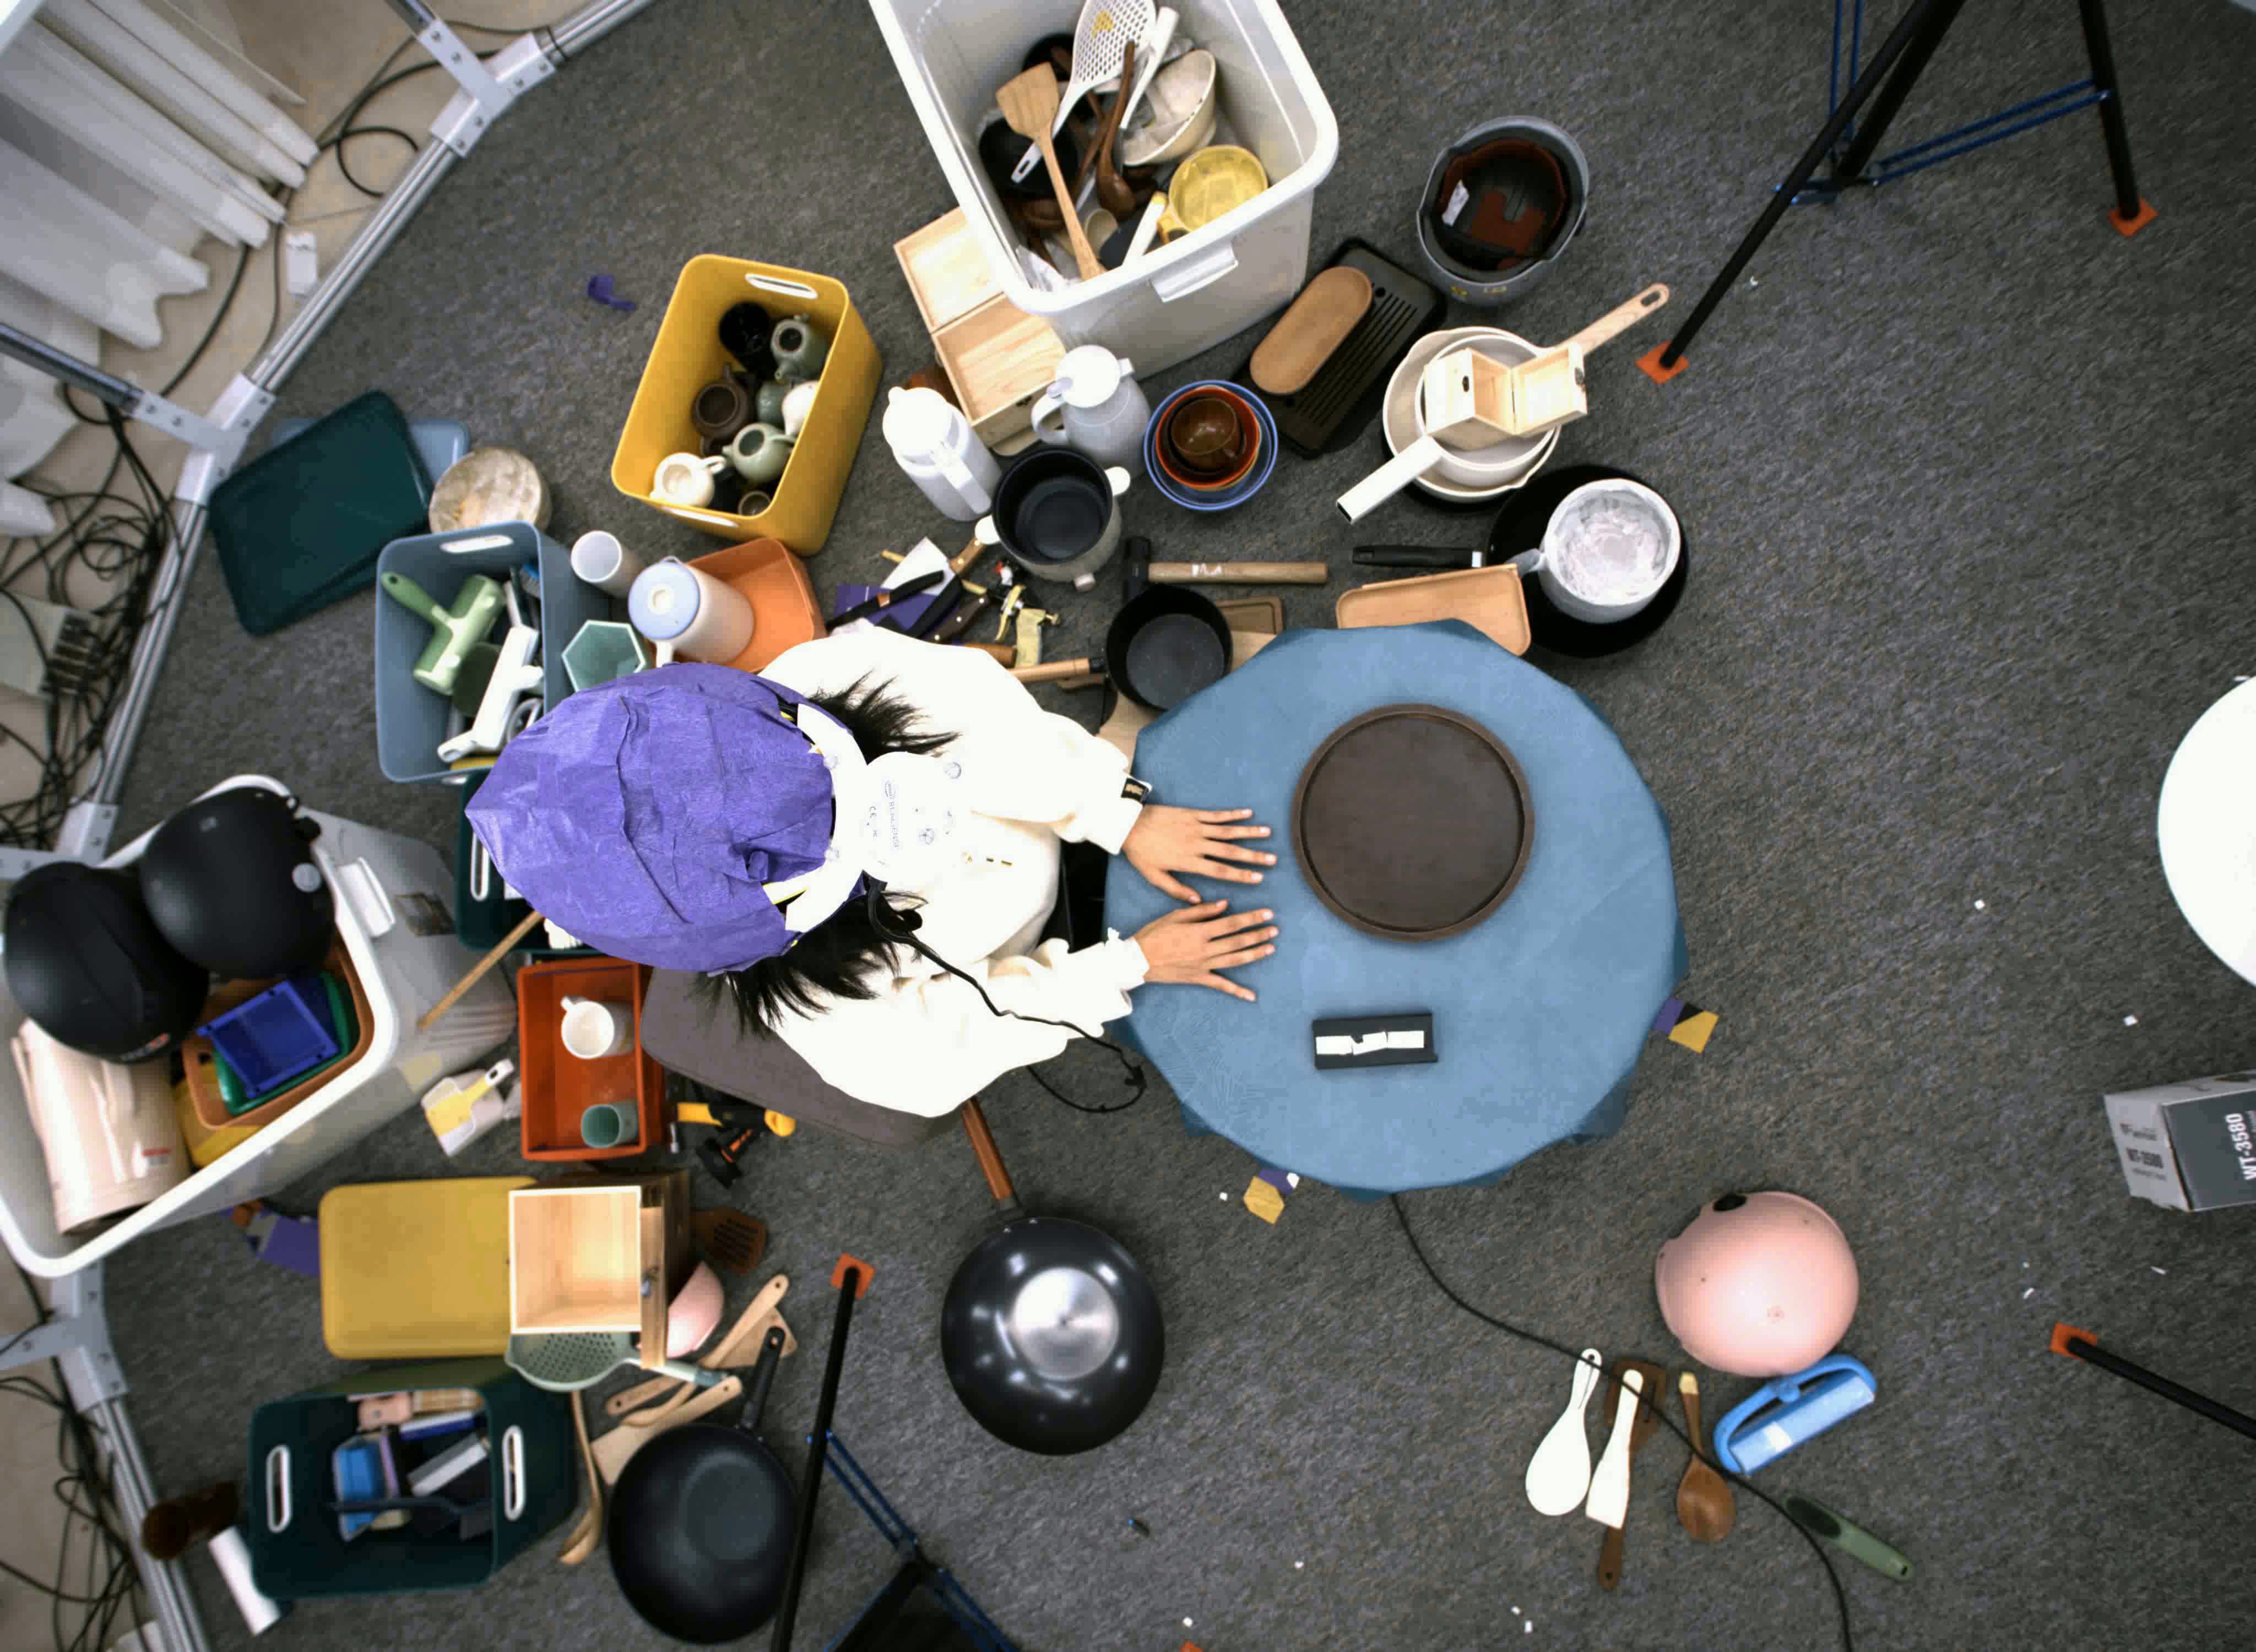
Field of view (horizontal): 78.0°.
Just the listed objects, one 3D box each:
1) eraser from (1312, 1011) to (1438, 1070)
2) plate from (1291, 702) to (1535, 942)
[{"bbox_3d":[0.257,0.222,1.441,0.126,0.030,0.053,-6,83,12],"label":"eraser"},{"bbox_3d":[0.297,-0.006,1.447,0.256,0.029,0.253,-1,87,9],"label":"plate"}]
